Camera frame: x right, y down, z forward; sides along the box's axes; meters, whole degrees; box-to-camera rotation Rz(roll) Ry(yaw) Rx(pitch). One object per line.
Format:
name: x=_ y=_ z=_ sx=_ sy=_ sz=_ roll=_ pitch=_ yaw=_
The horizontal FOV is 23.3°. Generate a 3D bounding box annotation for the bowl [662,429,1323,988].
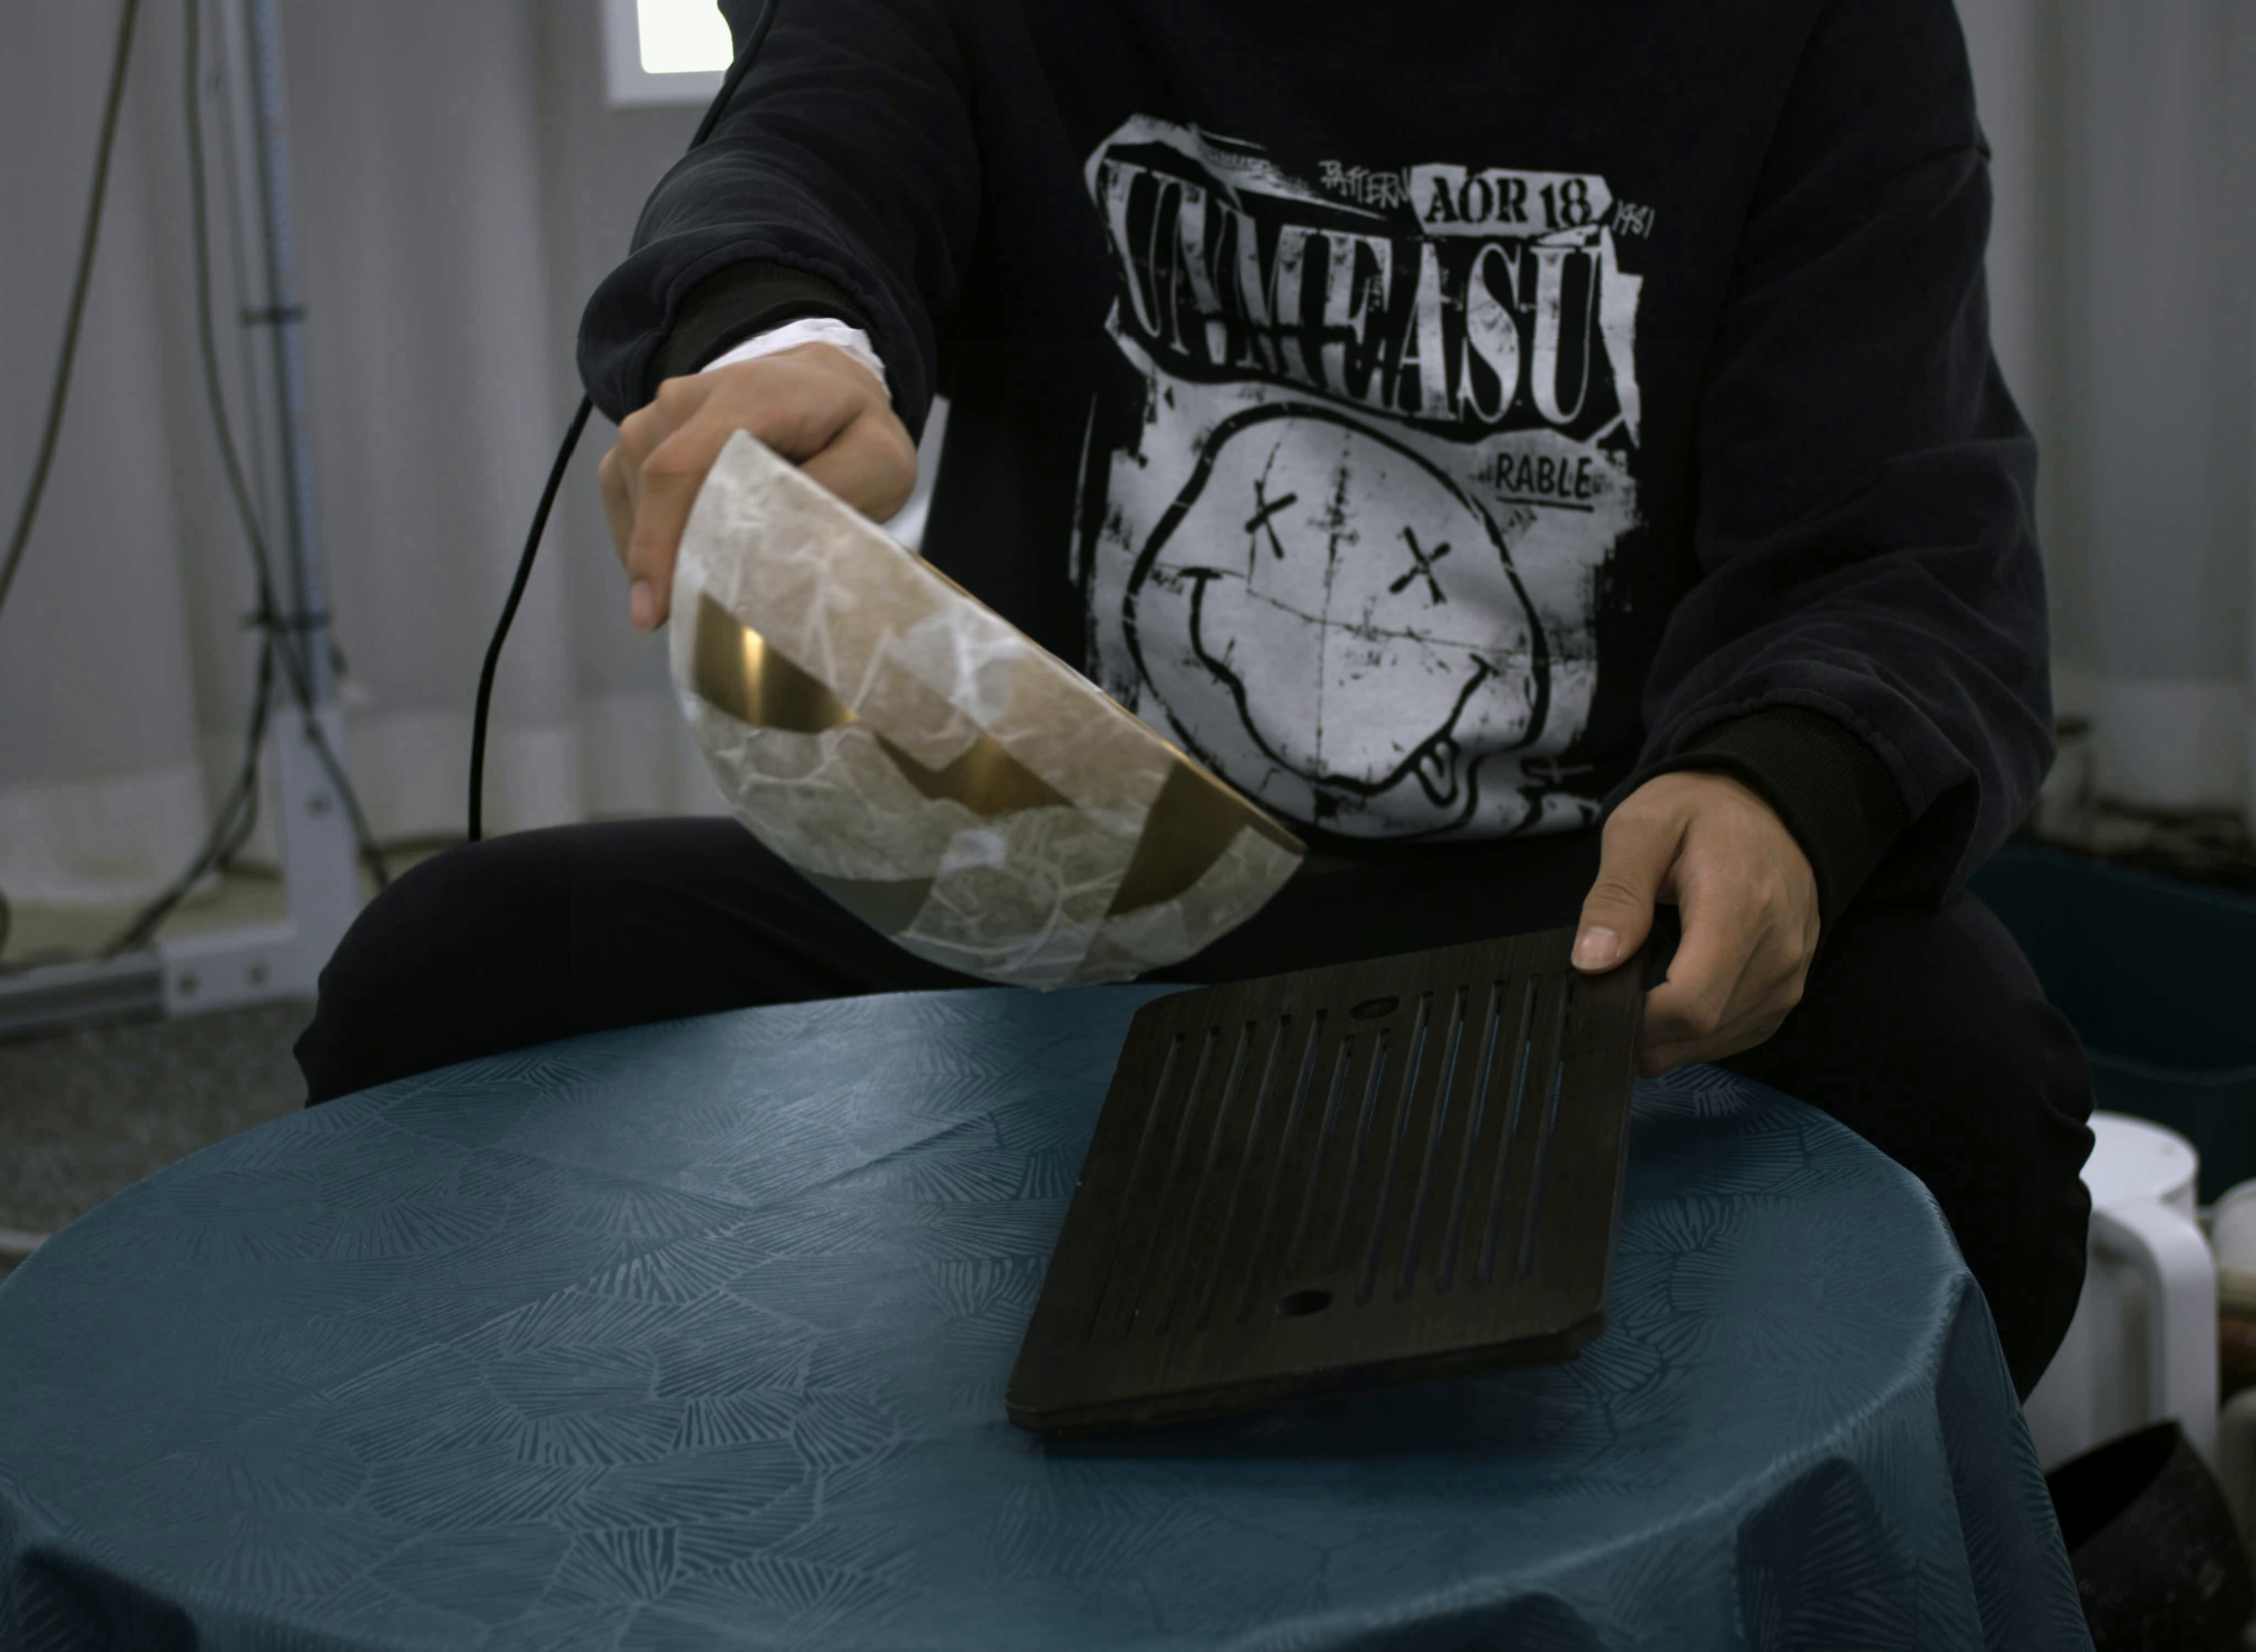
bowl: x=-0.052 y=-0.016 z=1.541 sx=0.214 sy=0.094 sz=0.215 roll=35 pitch=1 yaw=-1

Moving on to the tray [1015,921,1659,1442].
tray: x=0.070 y=0.102 z=1.619 sx=0.170 sy=0.018 sz=0.308 roll=-10 pitch=18 yaw=11
